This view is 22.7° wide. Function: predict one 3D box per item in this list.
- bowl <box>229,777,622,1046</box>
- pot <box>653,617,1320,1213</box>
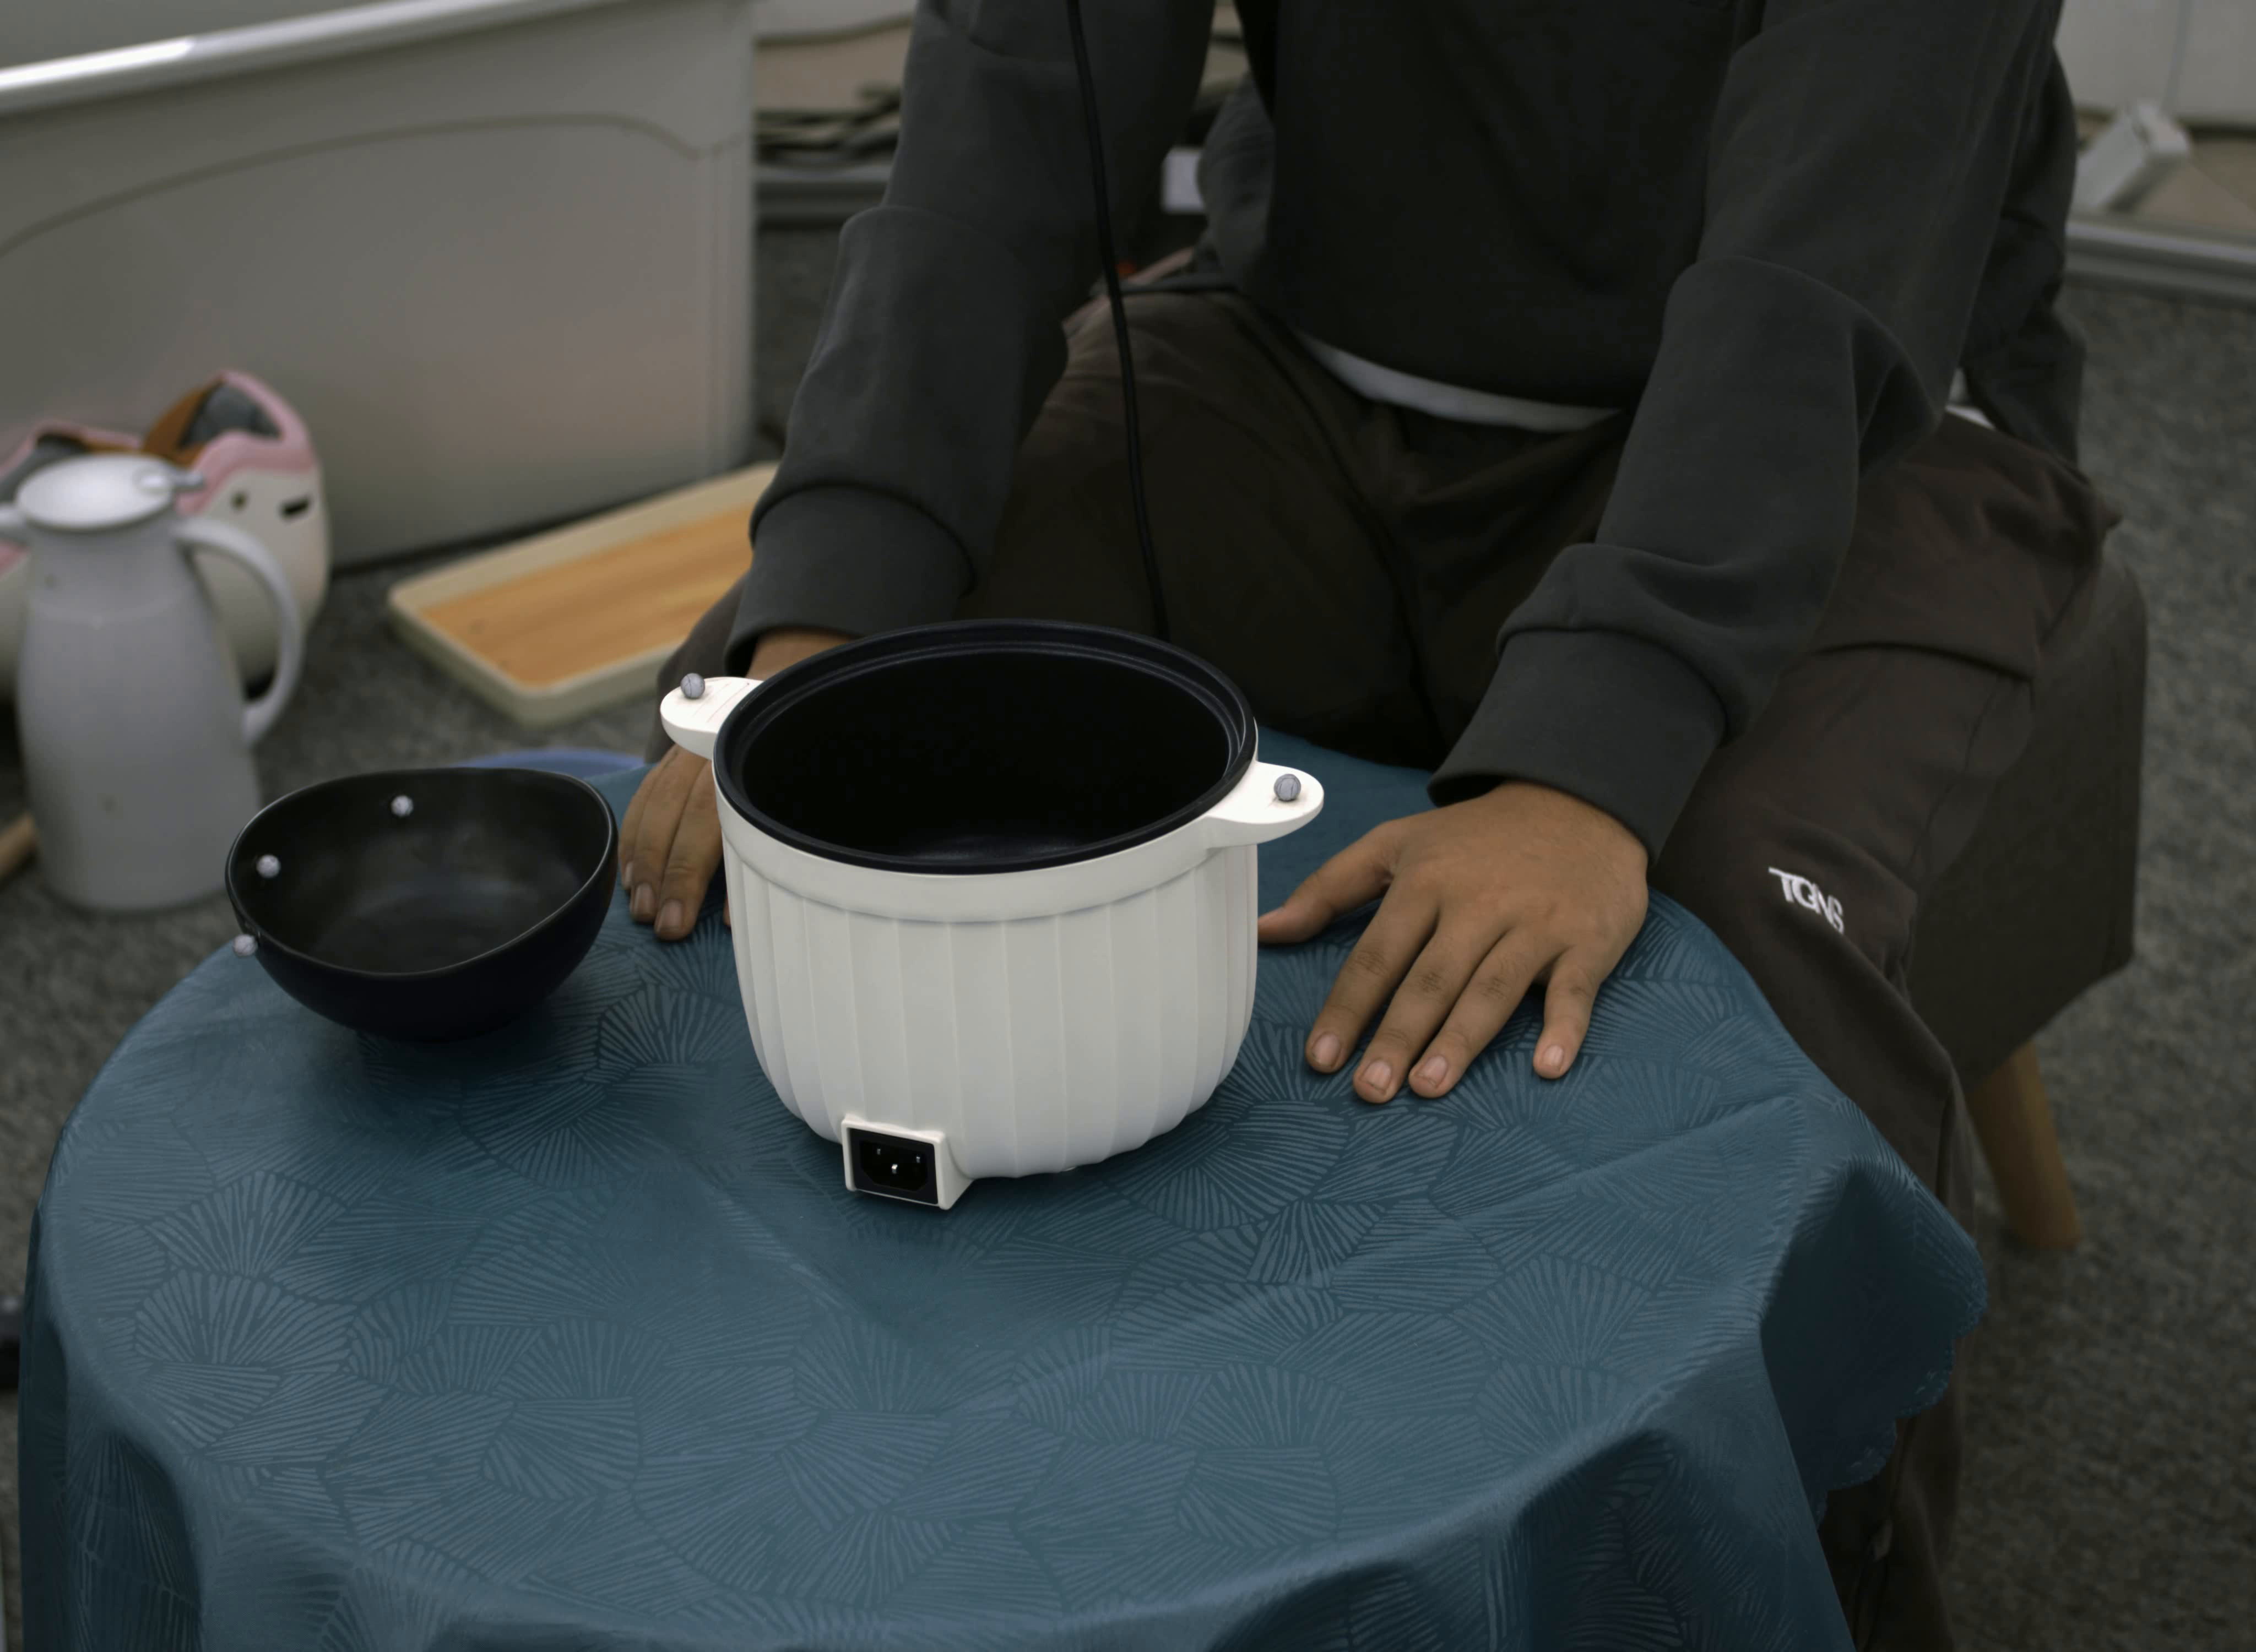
[{"bbox_3d":[-0.245,0.035,1.985,0.136,0.066,0.173,-2,26,2],"label":"bowl"},{"bbox_3d":[-0.045,0.027,1.904,0.239,0.141,0.194,10,32,21],"label":"pot"}]
